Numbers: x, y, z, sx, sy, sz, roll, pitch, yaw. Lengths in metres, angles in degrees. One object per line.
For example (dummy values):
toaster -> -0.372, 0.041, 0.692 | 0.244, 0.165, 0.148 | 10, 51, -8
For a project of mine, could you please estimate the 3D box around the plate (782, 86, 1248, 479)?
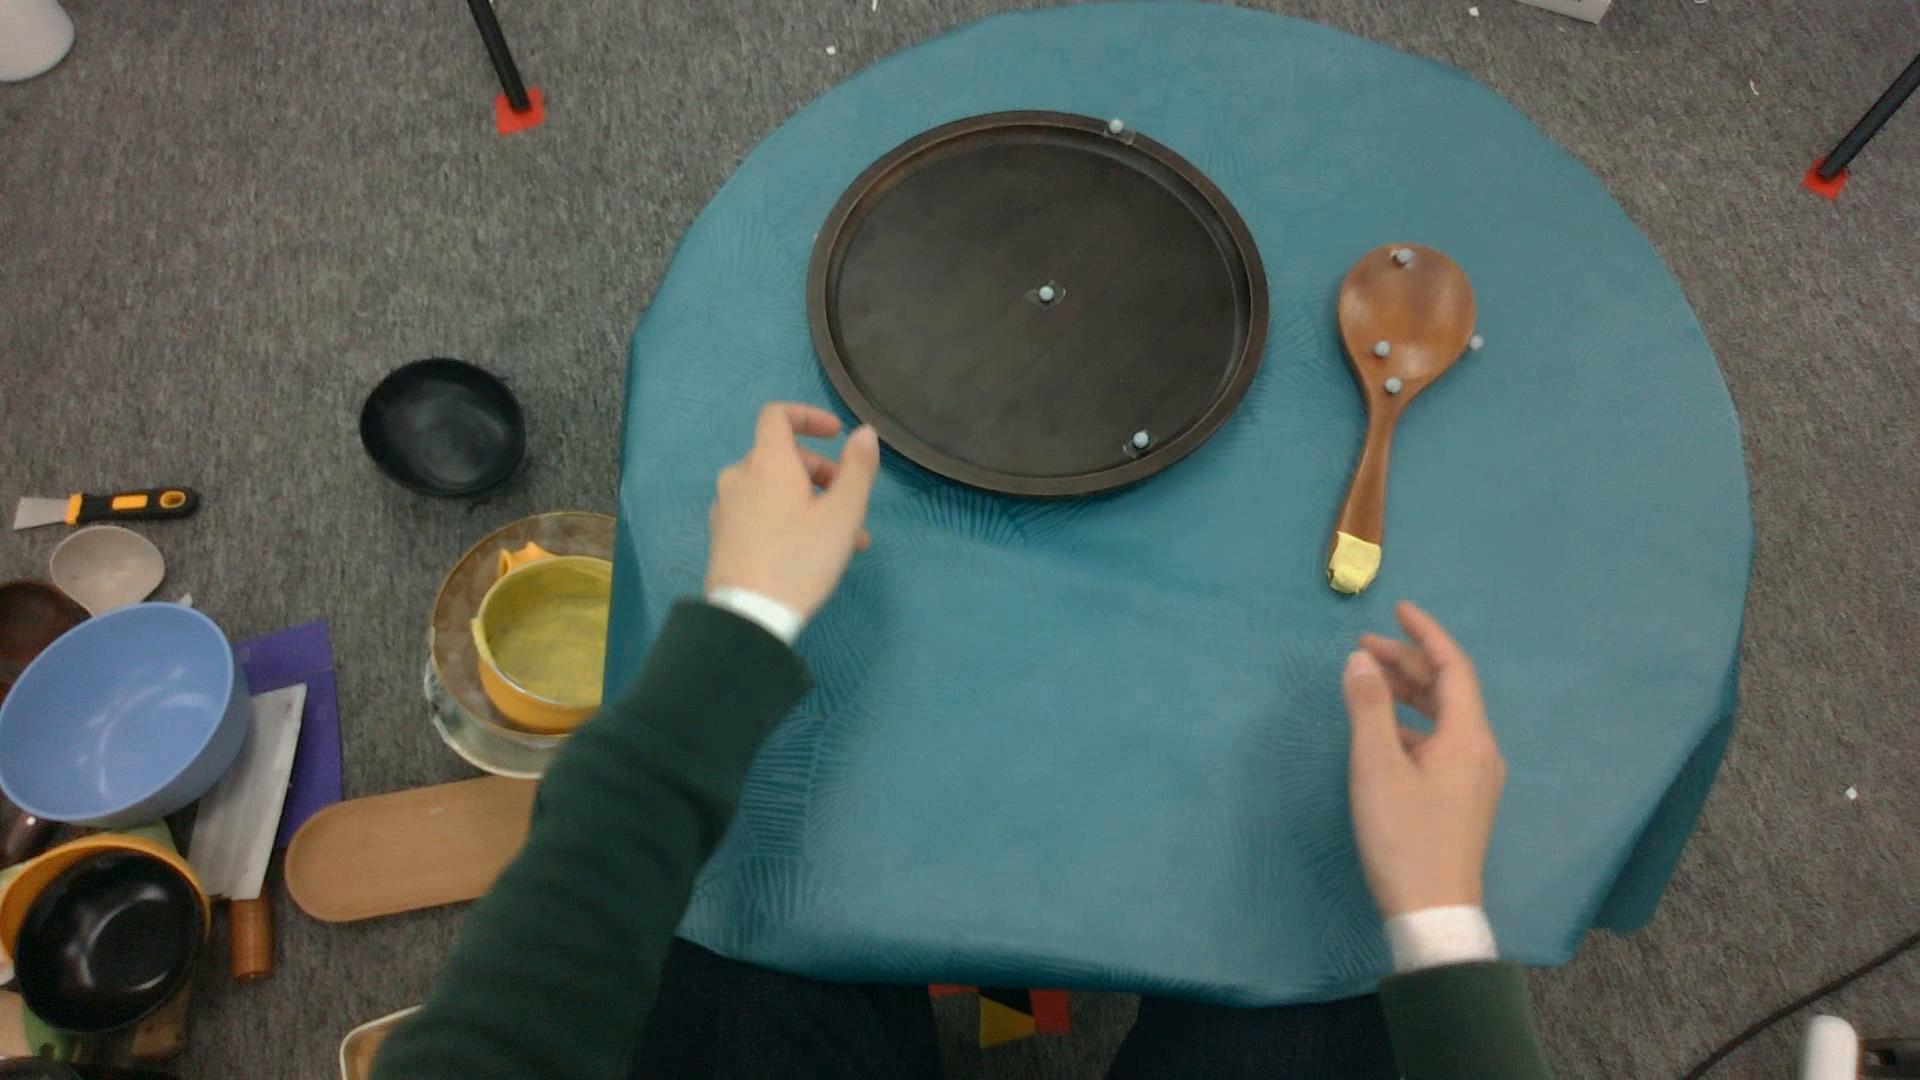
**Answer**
plate -> 0.030, -0.145, 0.755 | 0.255, 0.029, 0.255 | 1, 64, -1

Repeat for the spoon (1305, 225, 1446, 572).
spoon -> 0.213, -0.080, 0.736 | 0.075, 0.017, 0.216 | 15, 65, 4
